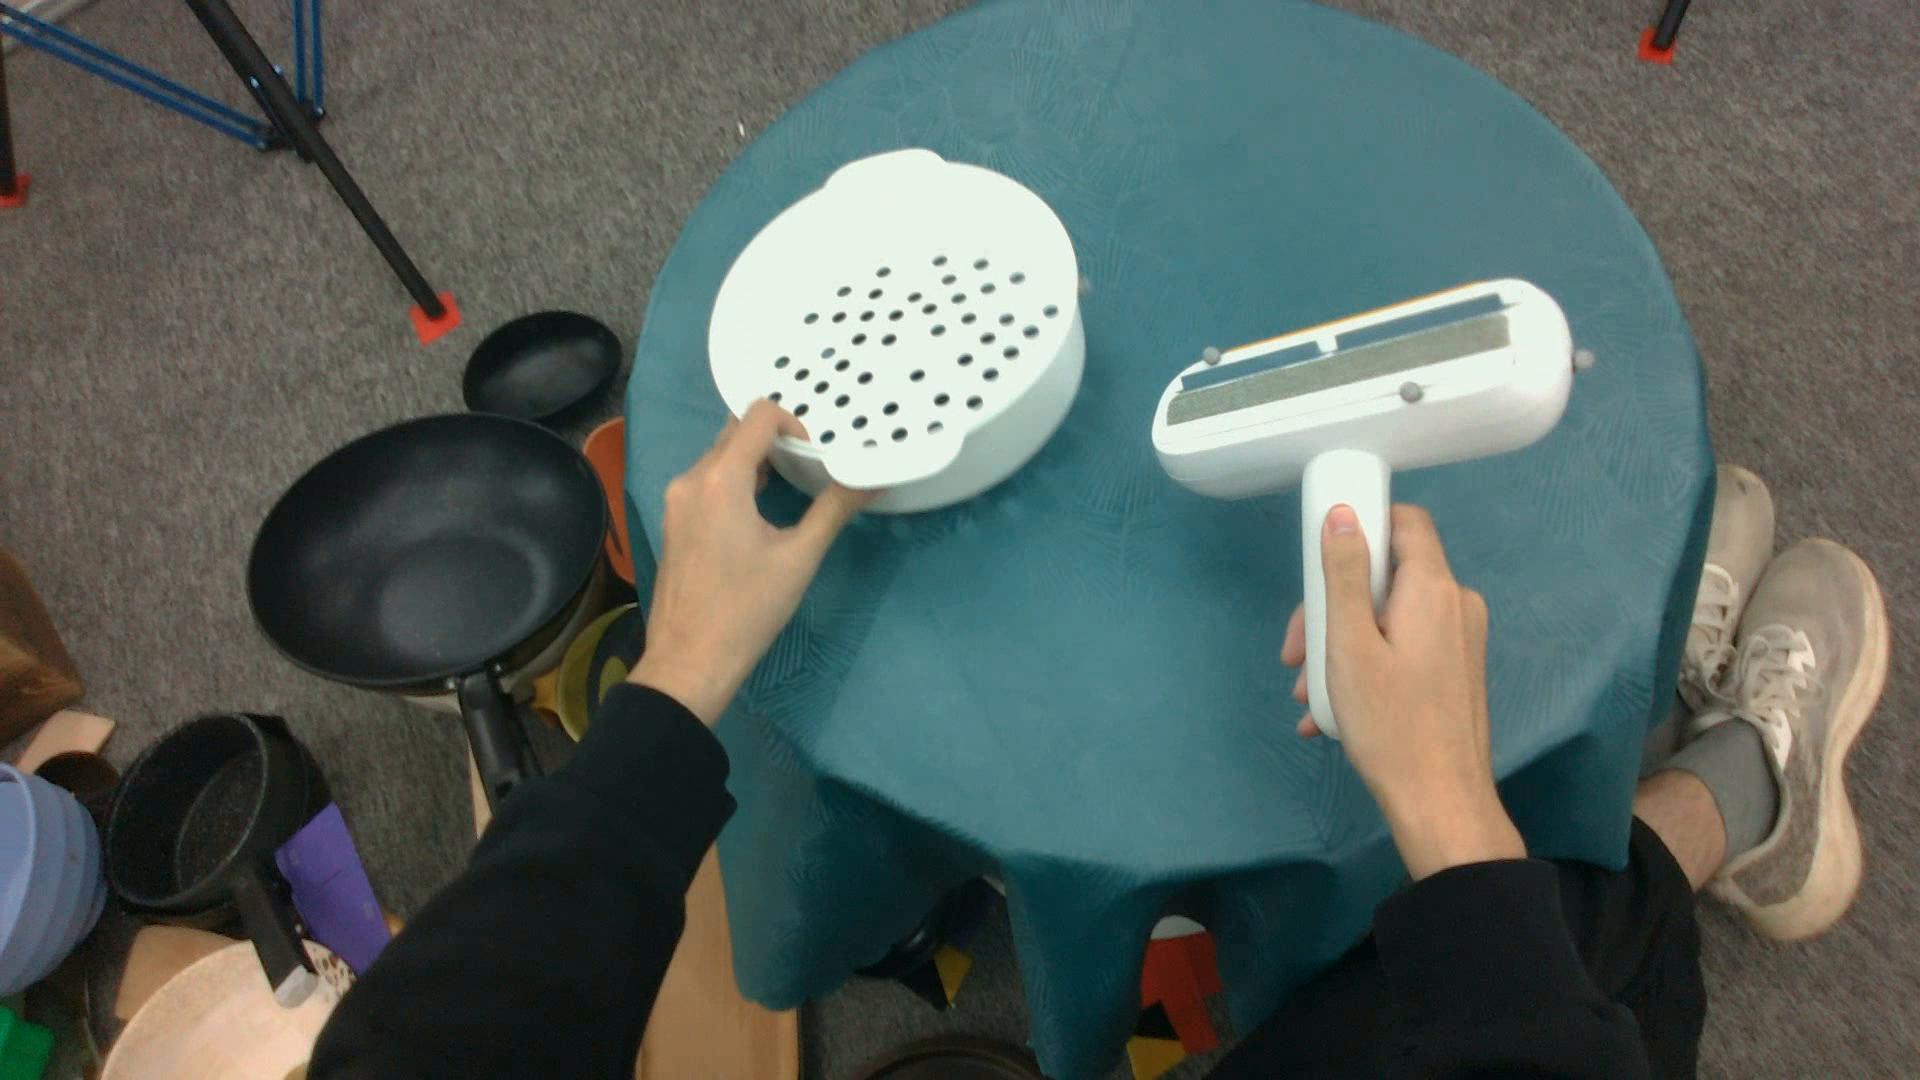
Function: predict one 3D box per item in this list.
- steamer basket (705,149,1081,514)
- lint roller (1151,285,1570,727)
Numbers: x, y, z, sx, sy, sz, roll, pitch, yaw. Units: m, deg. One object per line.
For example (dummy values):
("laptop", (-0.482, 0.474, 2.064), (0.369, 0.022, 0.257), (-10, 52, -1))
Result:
("steamer basket", (-0.034, -0.109, 0.755), (0.202, 0.069, 0.231), (-6, 60, 8))
("lint roller", (0.169, -0.014, 0.618), (0.192, 0.074, 0.193), (-2, 64, 36))
